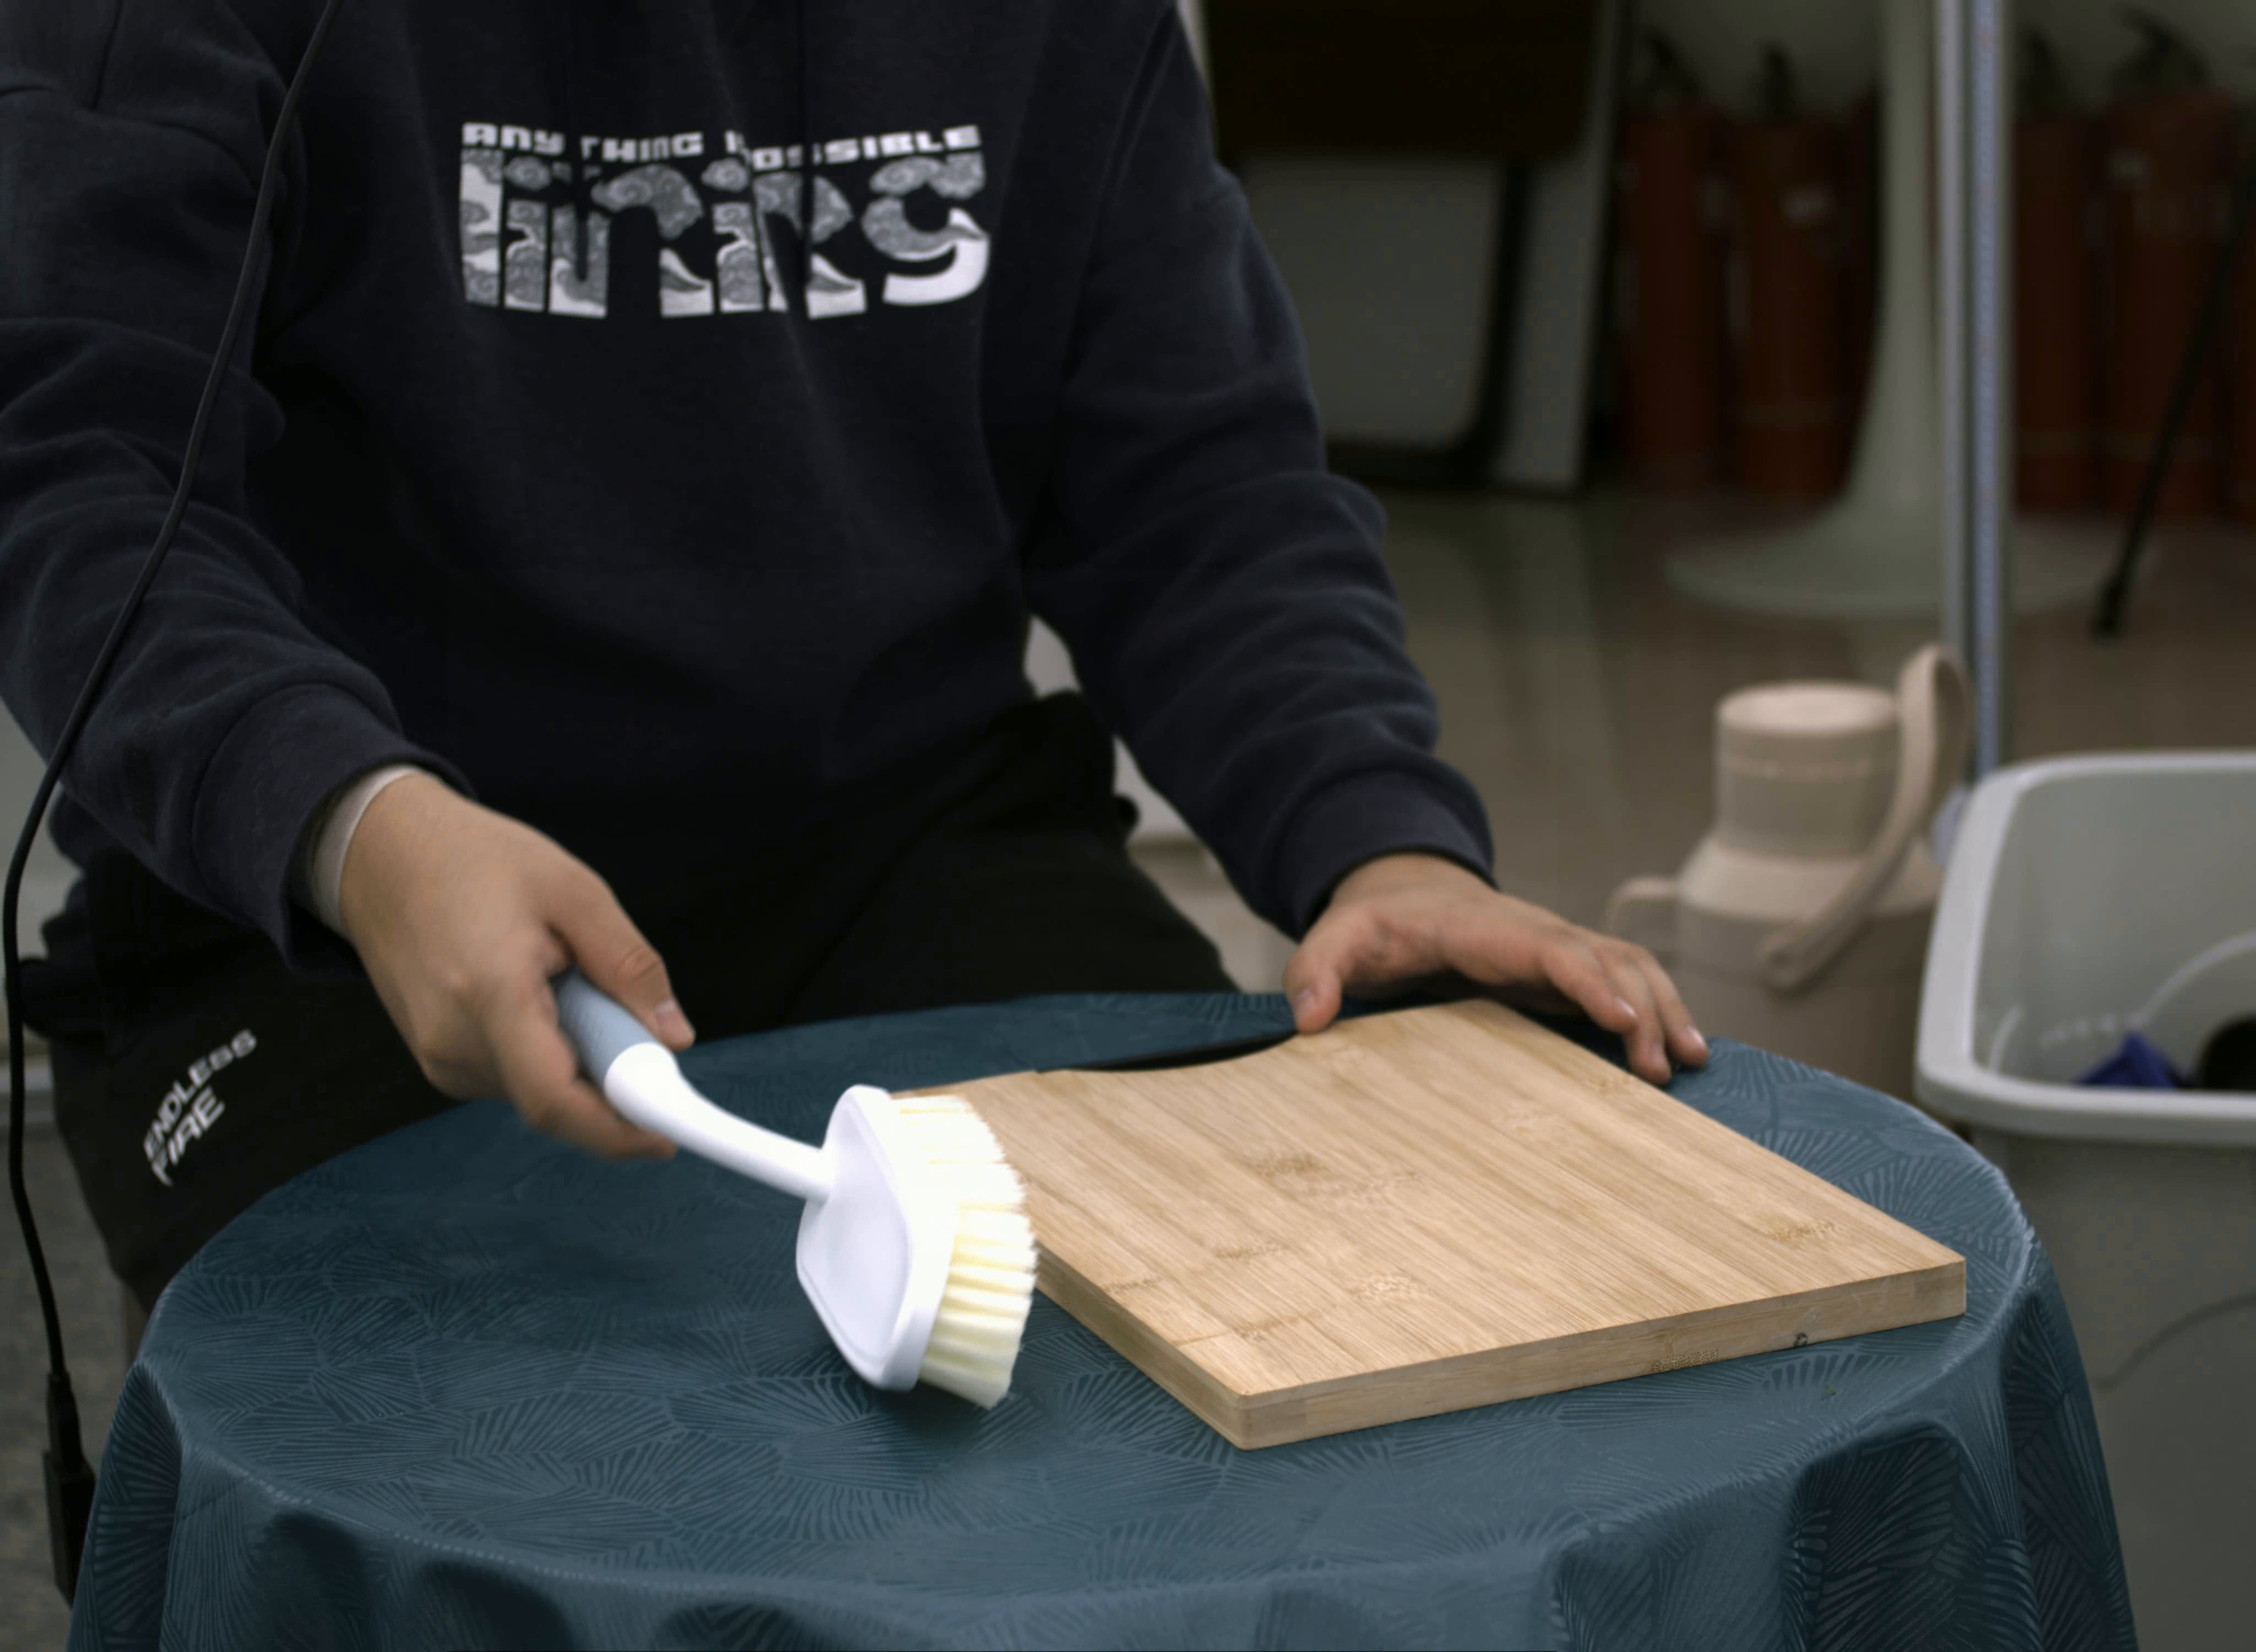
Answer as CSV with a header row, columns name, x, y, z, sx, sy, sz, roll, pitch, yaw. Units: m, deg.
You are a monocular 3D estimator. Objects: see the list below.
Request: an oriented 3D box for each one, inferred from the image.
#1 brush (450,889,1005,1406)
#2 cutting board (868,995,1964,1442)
name,x,y,z,sx,sy,sz,roll,pitch,yaw
brush,-0.111,0.087,1.682,0.083,0.083,0.329,-48,37,-2
cutting board,0.079,0.119,1.725,0.245,0.024,0.352,-8,14,-20
